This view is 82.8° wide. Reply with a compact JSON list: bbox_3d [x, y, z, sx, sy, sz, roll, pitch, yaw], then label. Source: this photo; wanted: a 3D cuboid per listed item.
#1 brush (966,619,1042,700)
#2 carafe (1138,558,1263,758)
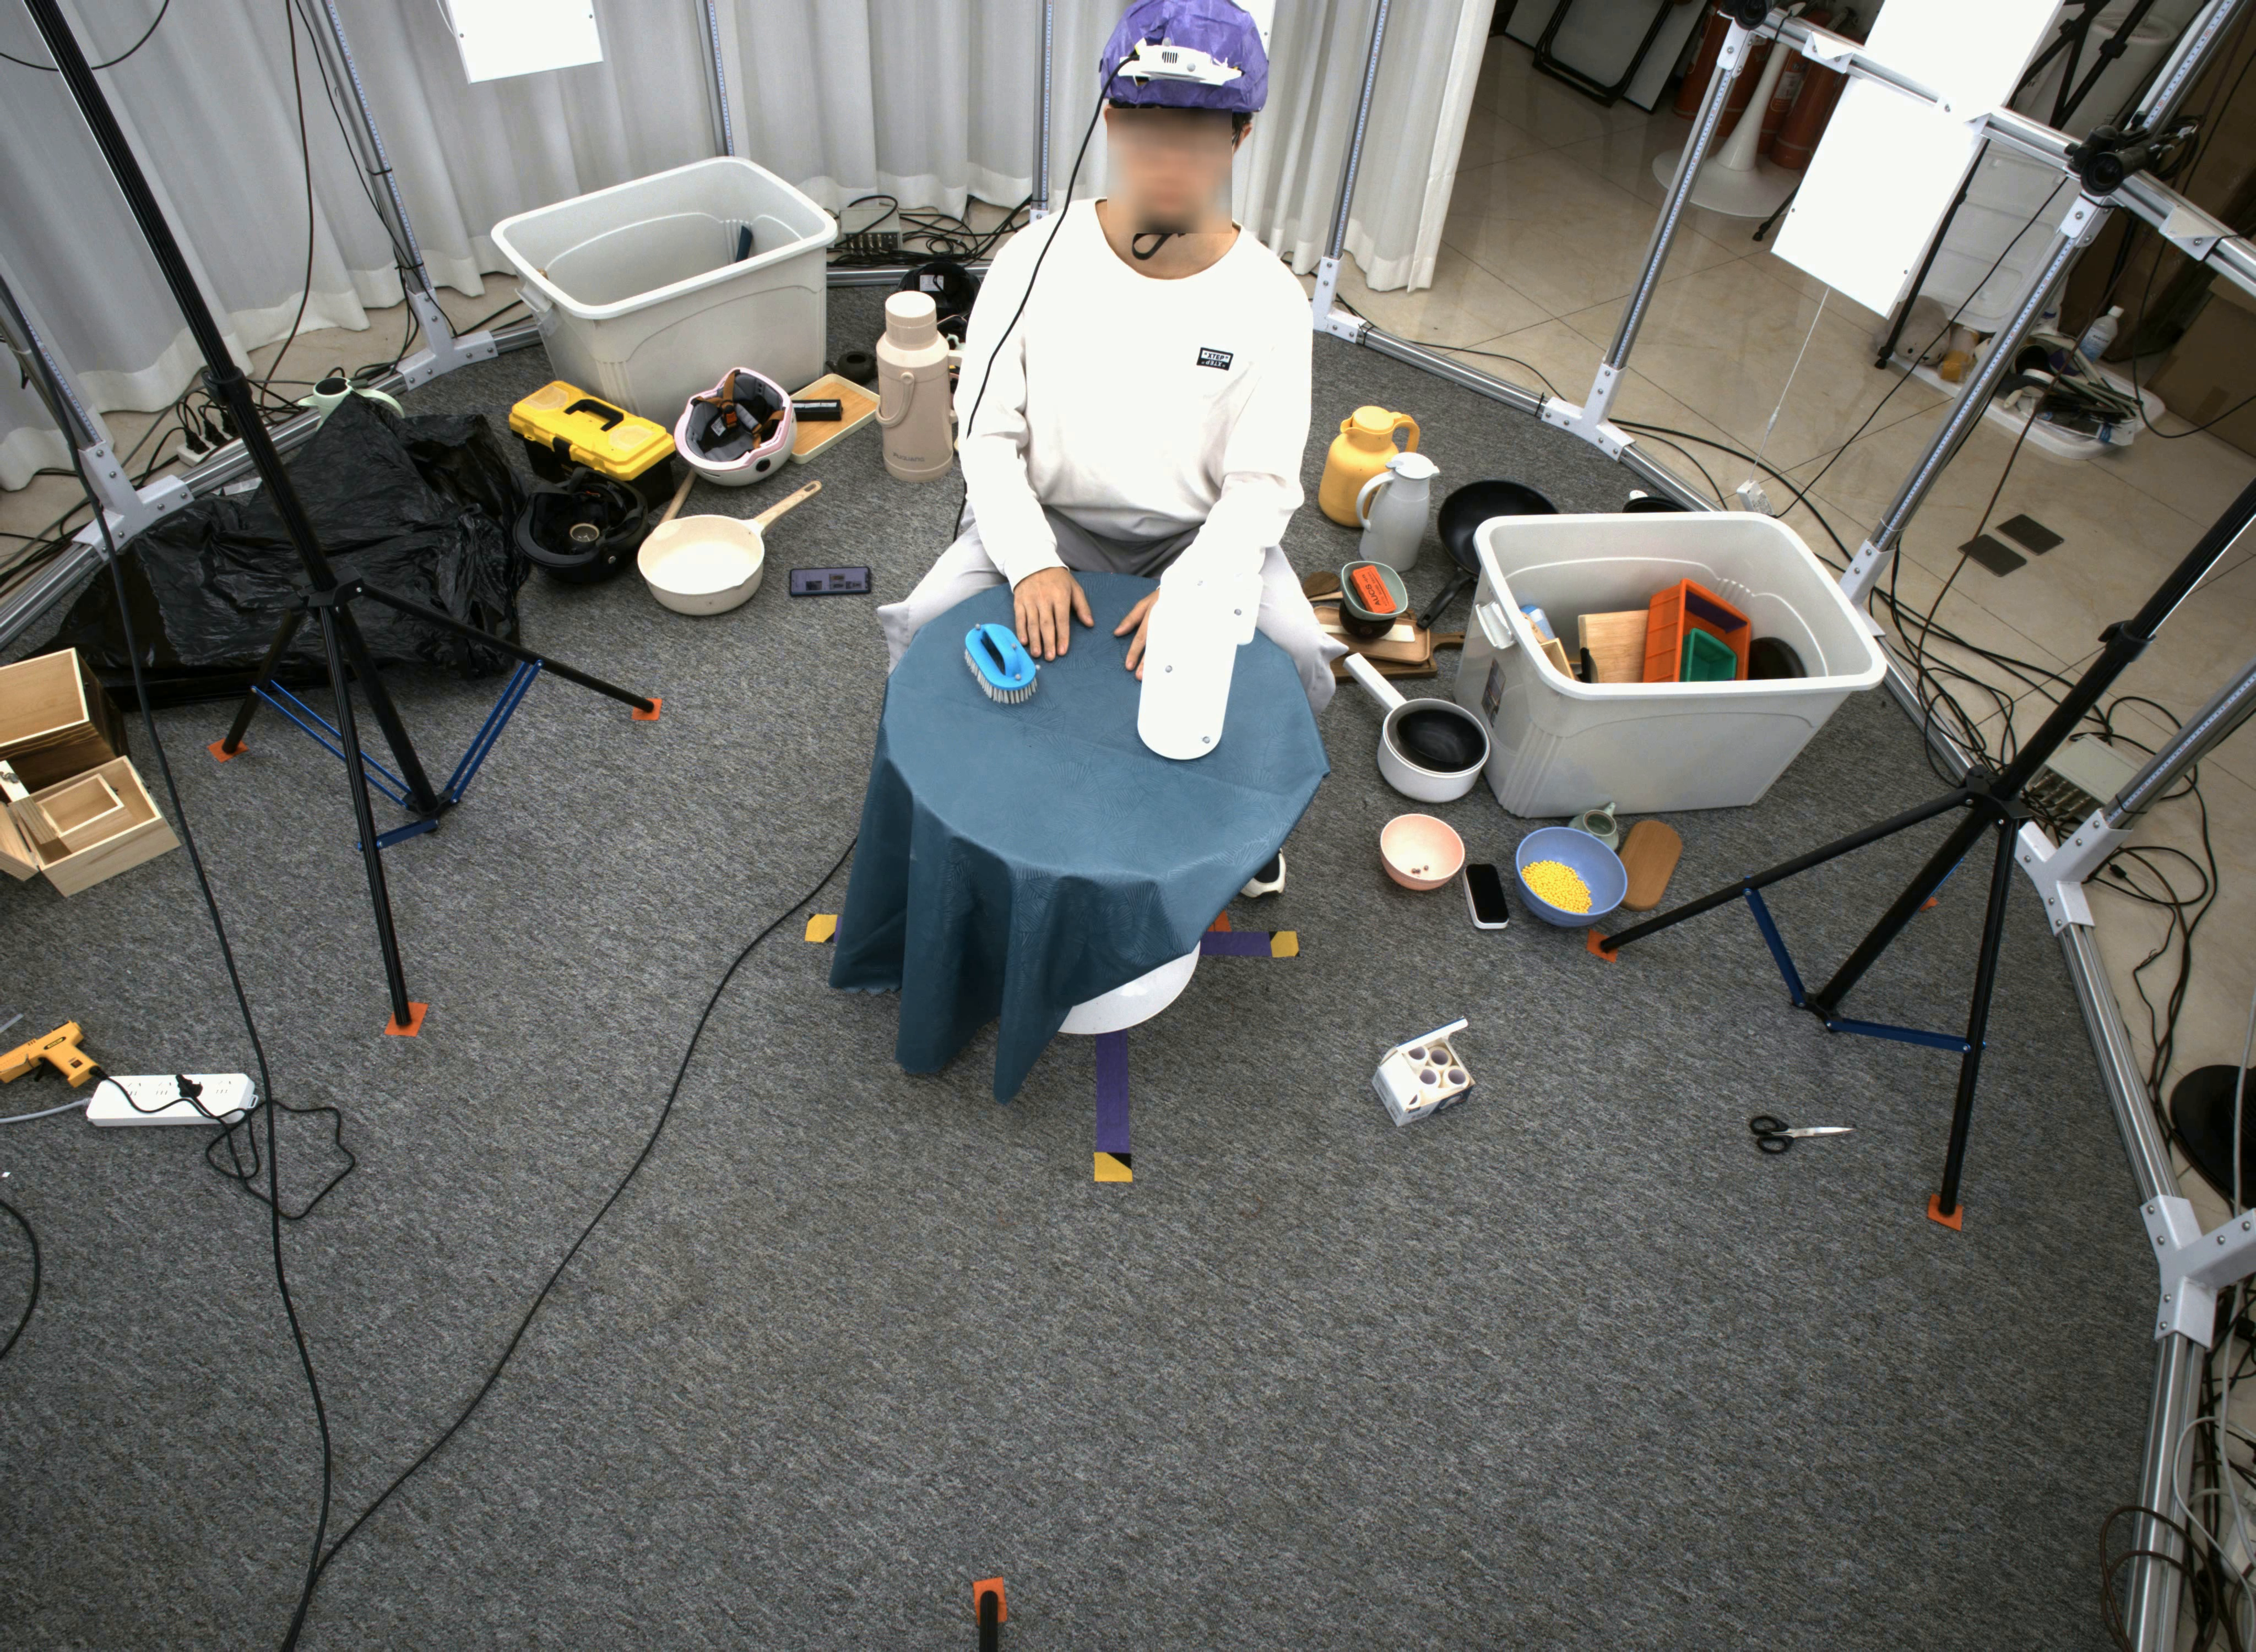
[{"bbox_3d":[-0.179,-0.246,1.823,0.084,0.062,0.145,-21,53,-15],"label":"brush"},{"bbox_3d":[0.093,-0.226,1.695,0.174,0.262,0.126,-30,56,-28],"label":"carafe"}]
